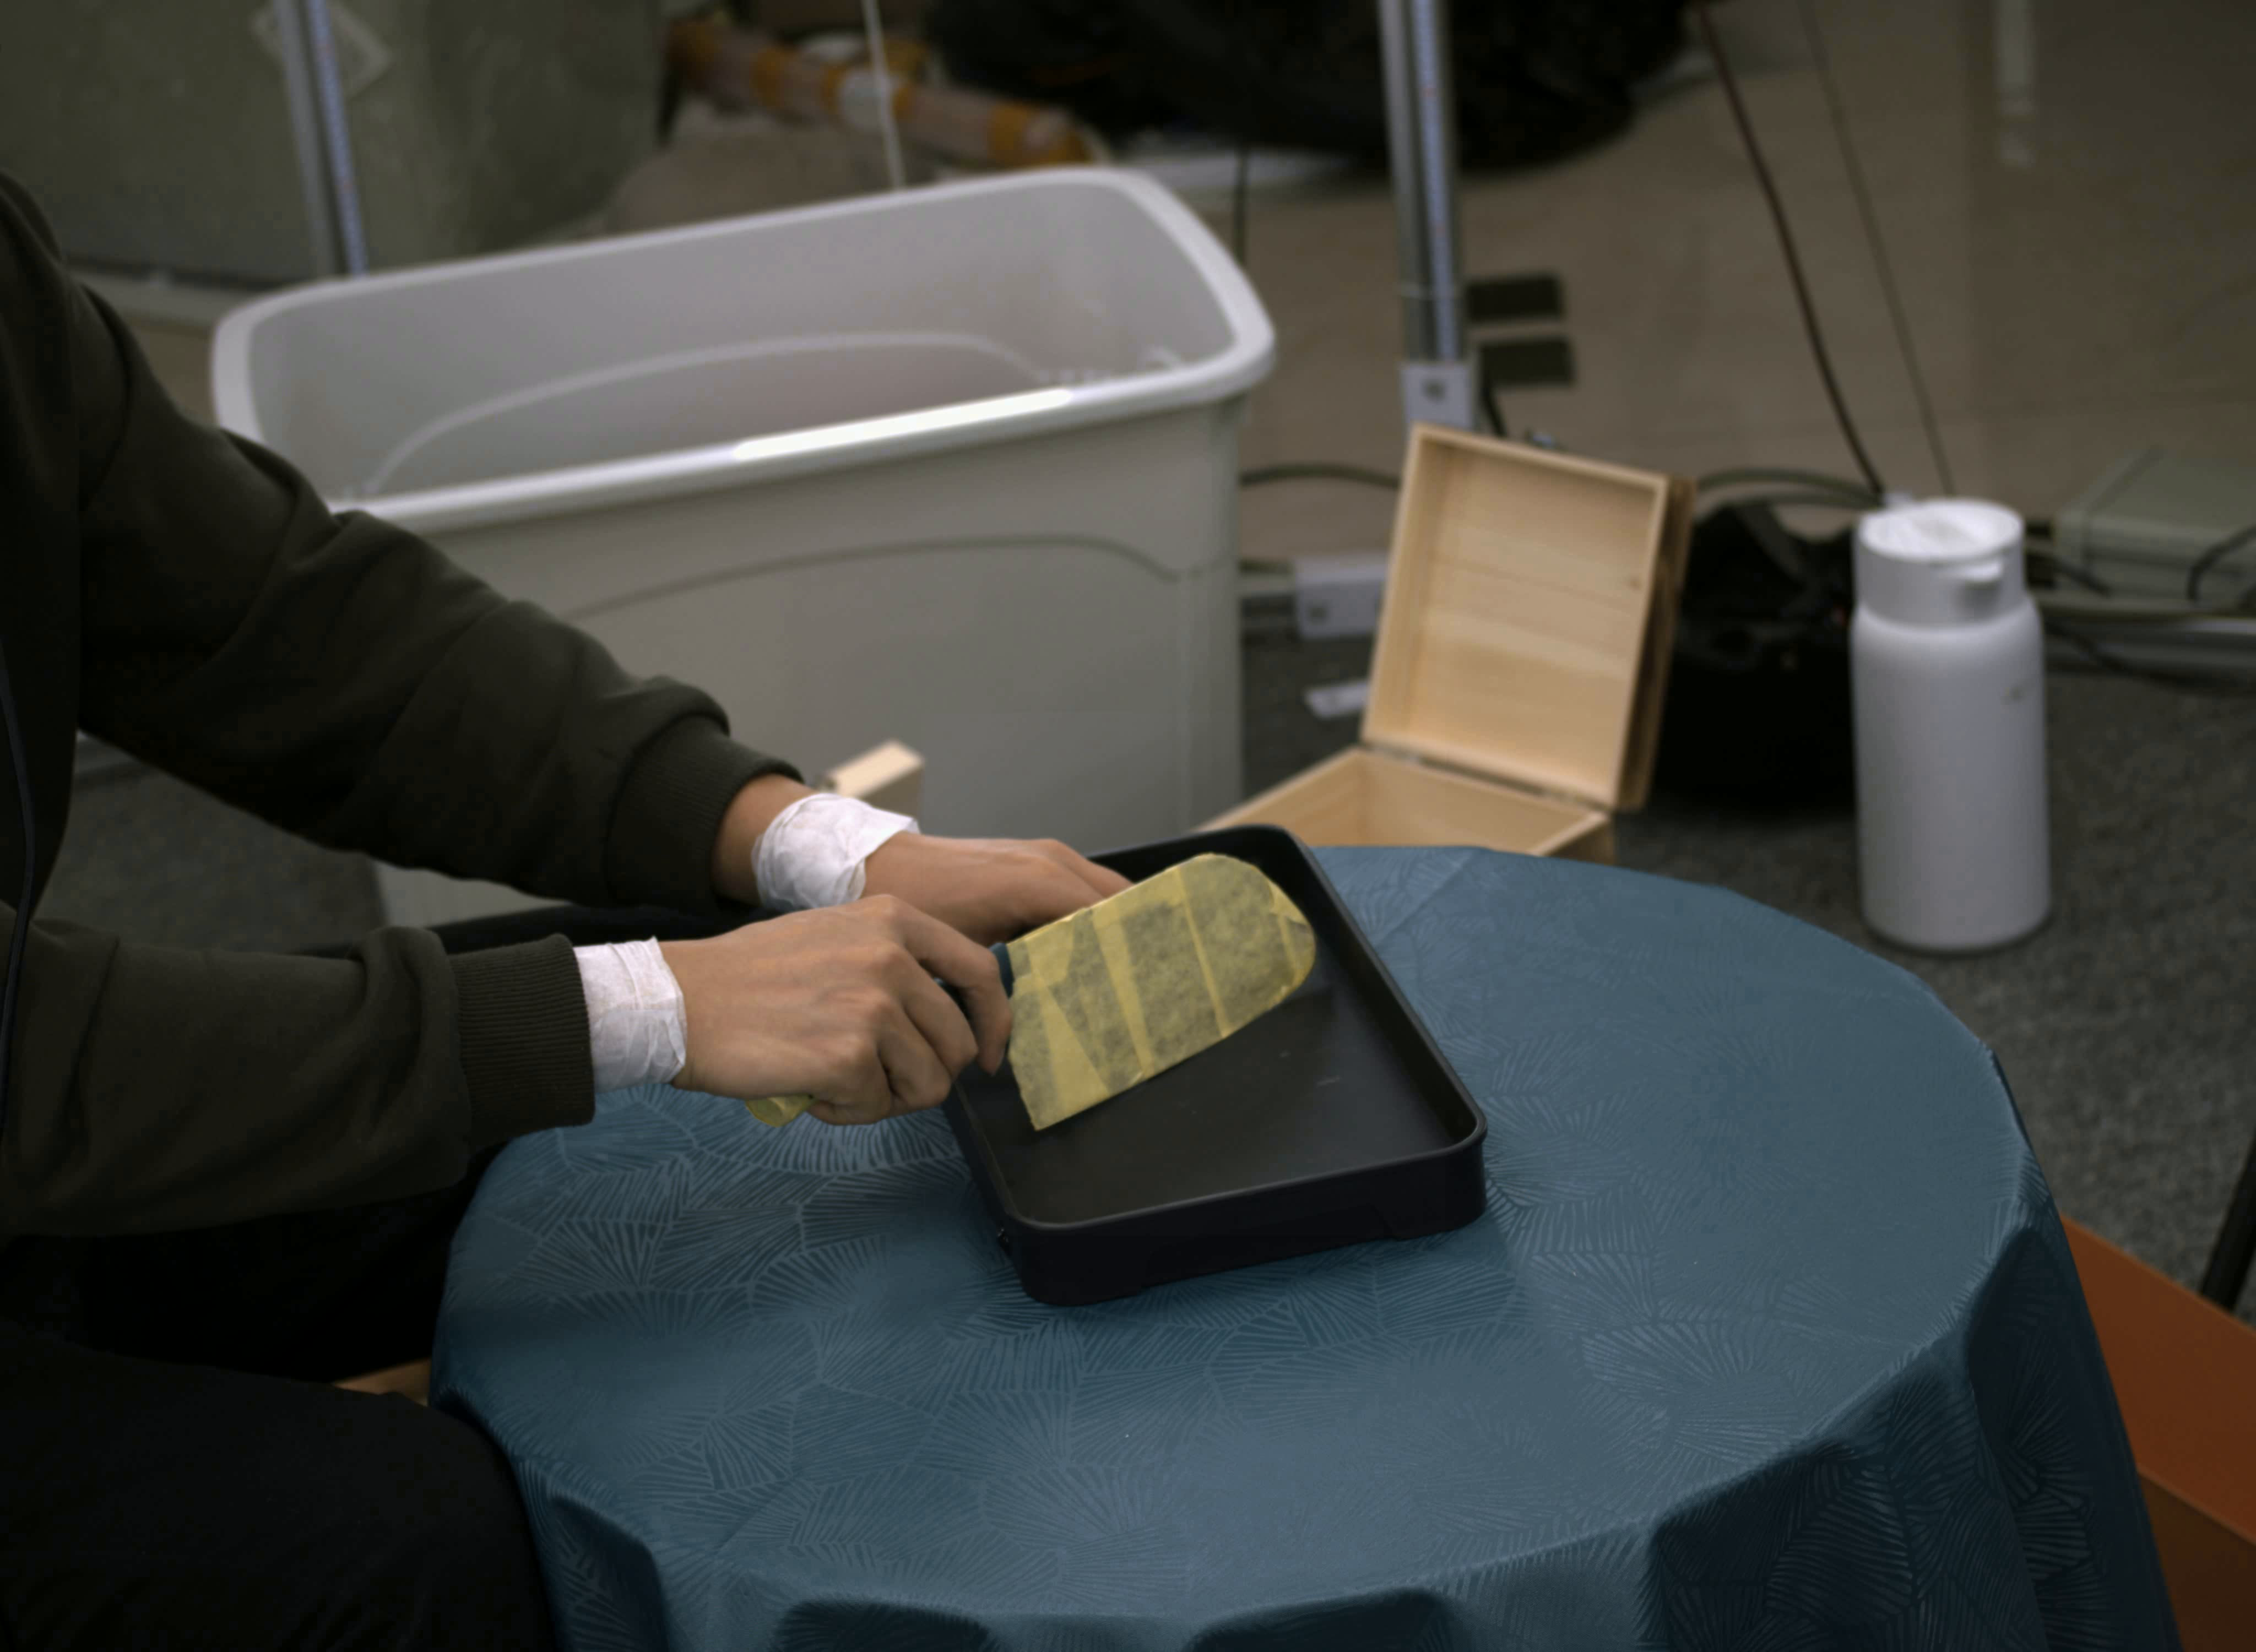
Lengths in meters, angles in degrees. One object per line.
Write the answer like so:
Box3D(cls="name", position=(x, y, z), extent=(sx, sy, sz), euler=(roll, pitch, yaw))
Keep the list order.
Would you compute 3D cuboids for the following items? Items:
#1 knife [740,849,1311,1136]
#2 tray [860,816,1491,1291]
Box3D(cls="knife", position=(-0.032, 0.075, 2.193), extent=(0.287, 0.081, 0.027), euler=(-21, 8, -38))
Box3D(cls="tray", position=(0.014, 0.084, 2.221), extent=(0.184, 0.037, 0.313), euler=(-11, 25, -11))
